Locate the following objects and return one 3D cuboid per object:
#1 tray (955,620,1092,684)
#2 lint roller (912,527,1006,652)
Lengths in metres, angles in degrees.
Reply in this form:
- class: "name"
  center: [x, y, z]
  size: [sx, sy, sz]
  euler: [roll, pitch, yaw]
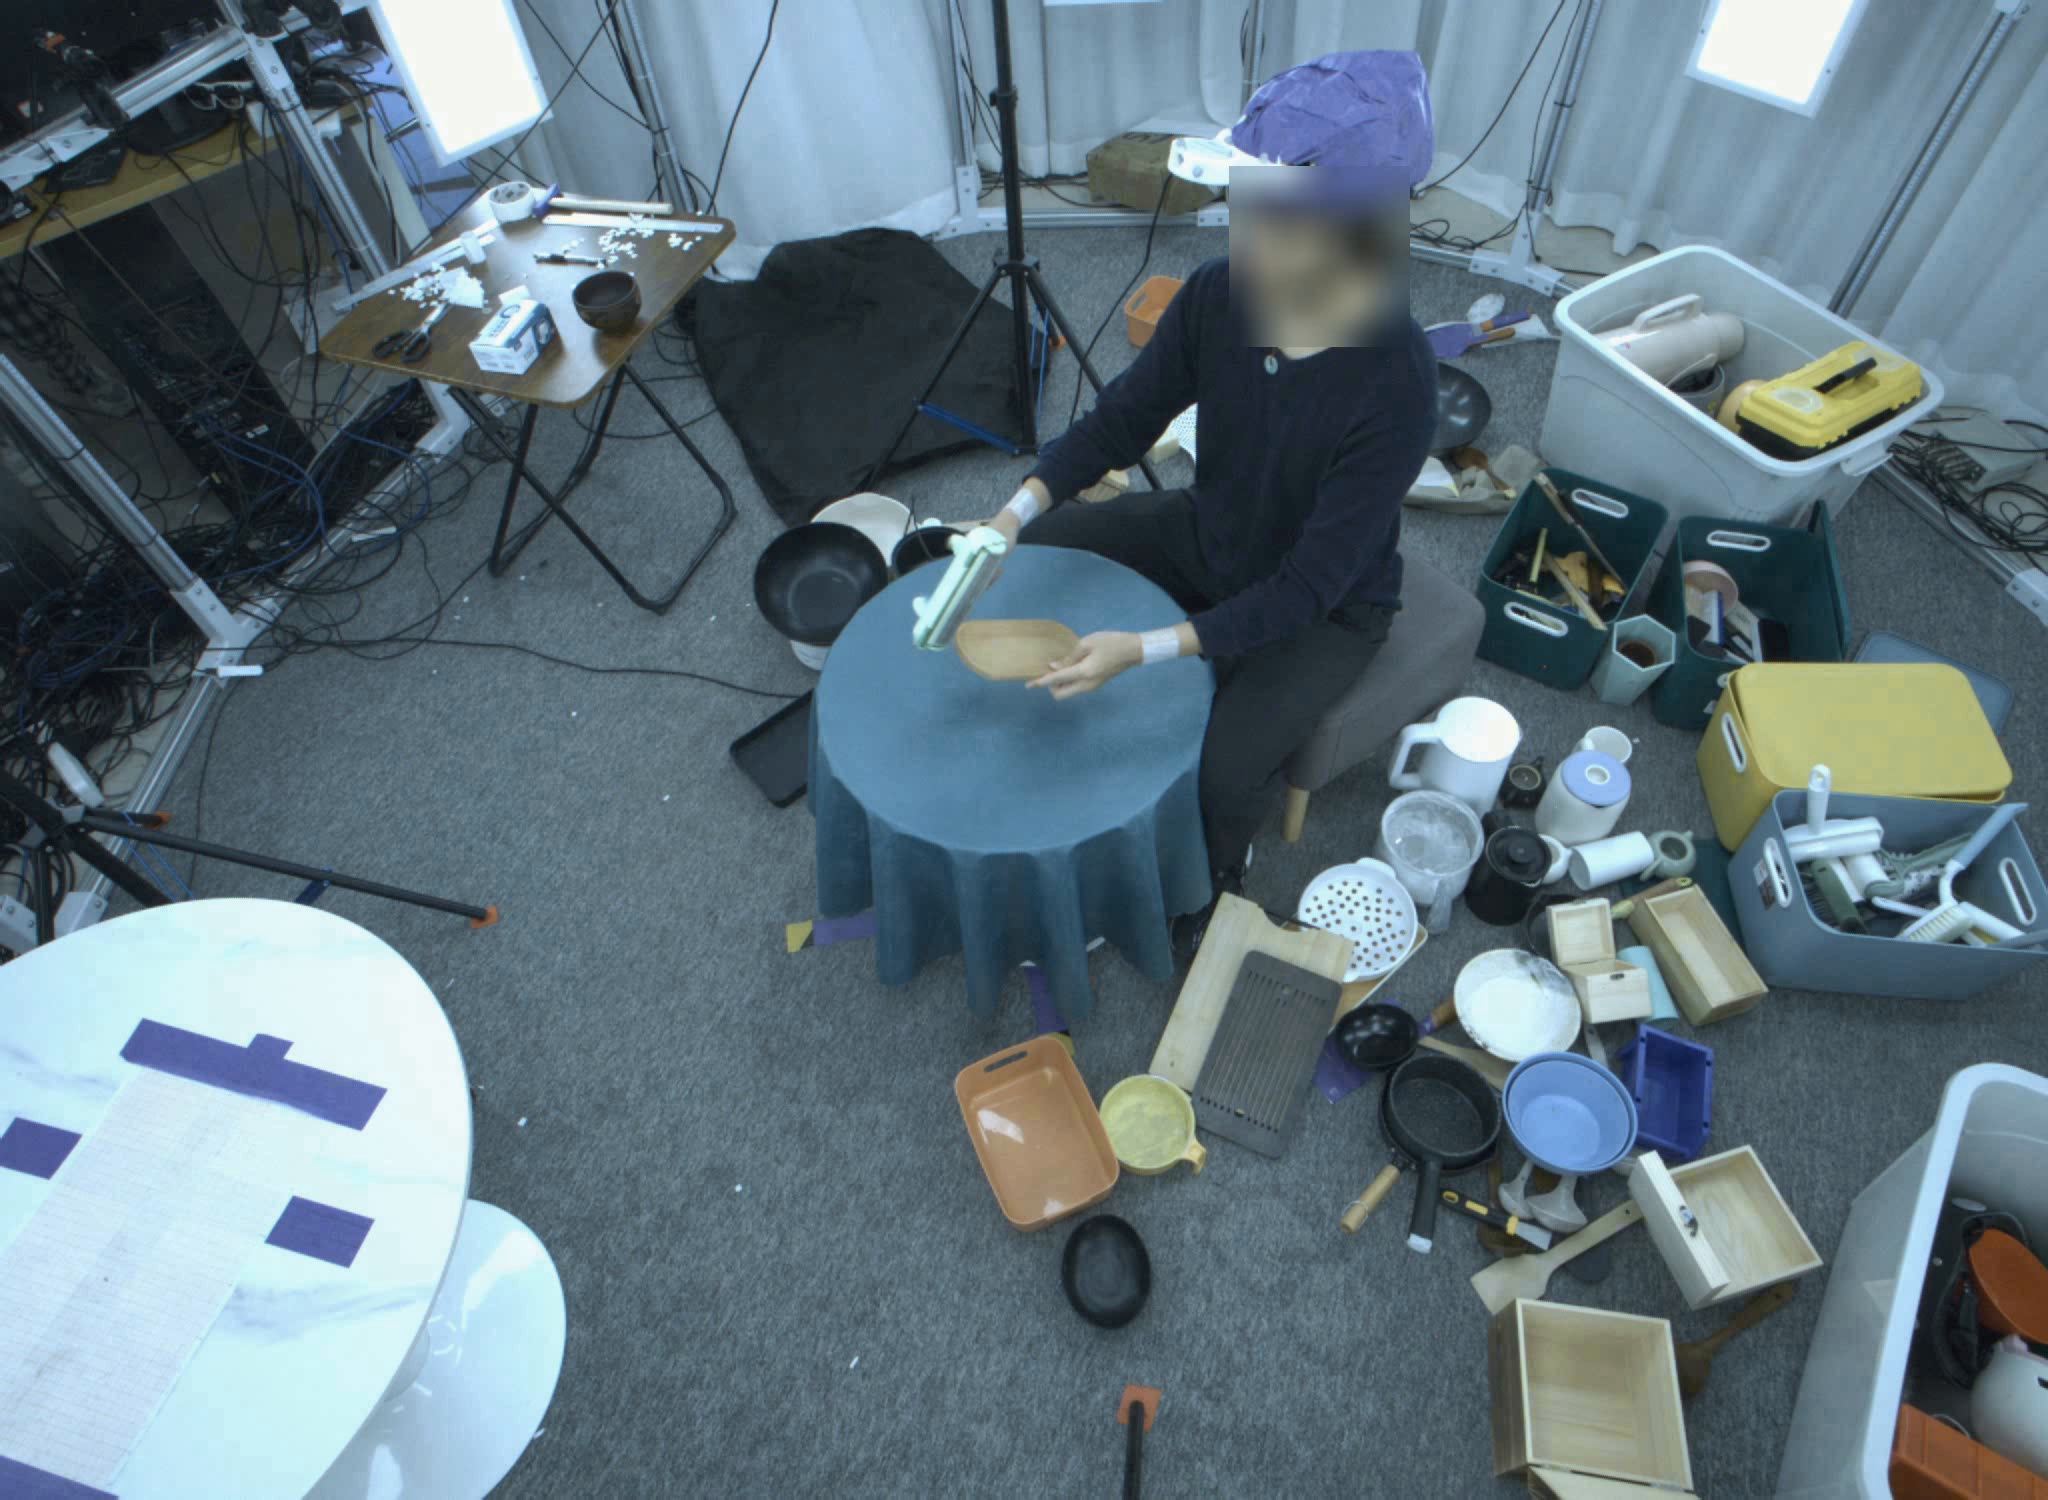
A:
- class: "tray"
  center: [0.001, -0.136, 1.700]
  size: [0.236, 0.020, 0.100]
  euler: [-6, 60, -44]
- class: "lint roller"
  center: [-0.091, -0.257, 1.753]
  size: [0.083, 0.198, 0.182]
  euler: [28, 34, -11]
